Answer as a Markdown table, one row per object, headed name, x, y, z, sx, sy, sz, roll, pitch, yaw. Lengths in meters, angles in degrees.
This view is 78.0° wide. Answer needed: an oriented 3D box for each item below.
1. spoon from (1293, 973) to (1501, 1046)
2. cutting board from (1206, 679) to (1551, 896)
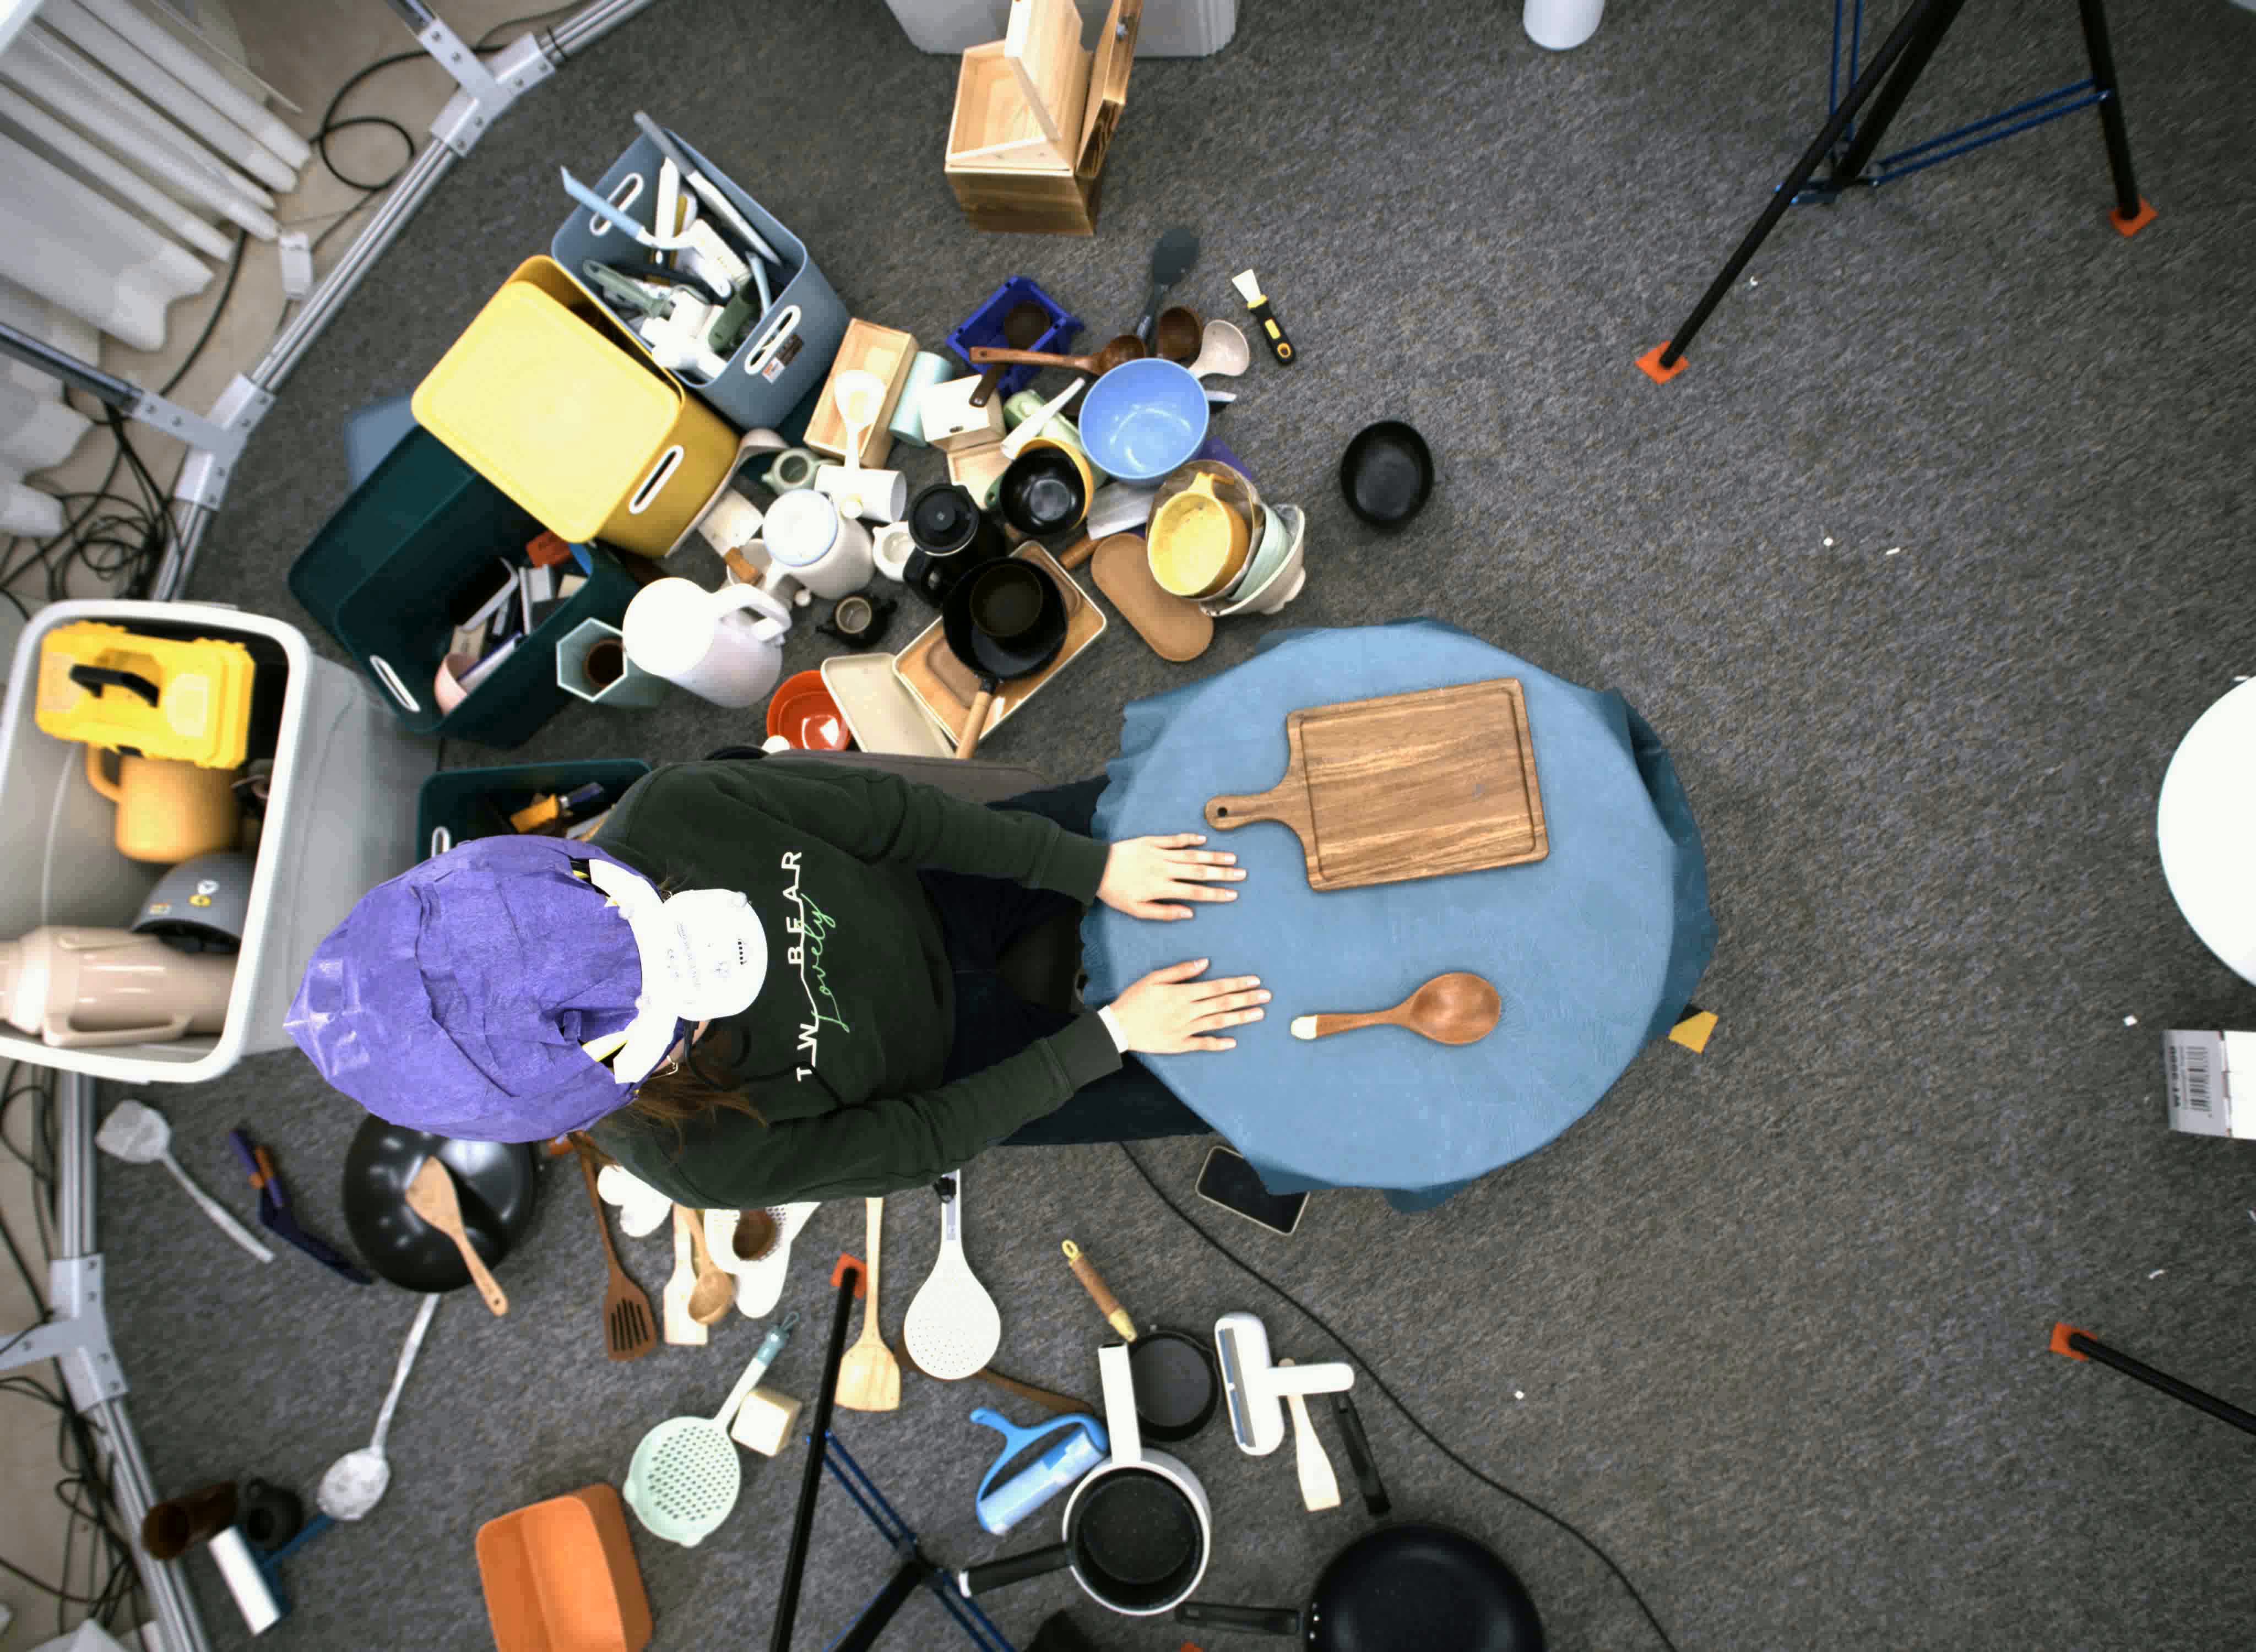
| name | x | y | z | sx | sy | sz | roll | pitch | yaw |
| --- | --- | --- | --- | --- | --- | --- | --- | --- | --- |
| spoon | 0.280 | 0.198 | 1.445 | 0.217 | 0.017 | 0.075 | -9 | 86 | 9 |
| cutting board | 0.257 | -0.035 | 1.466 | 0.354 | 0.023 | 0.200 | -9 | 86 | 10 |
